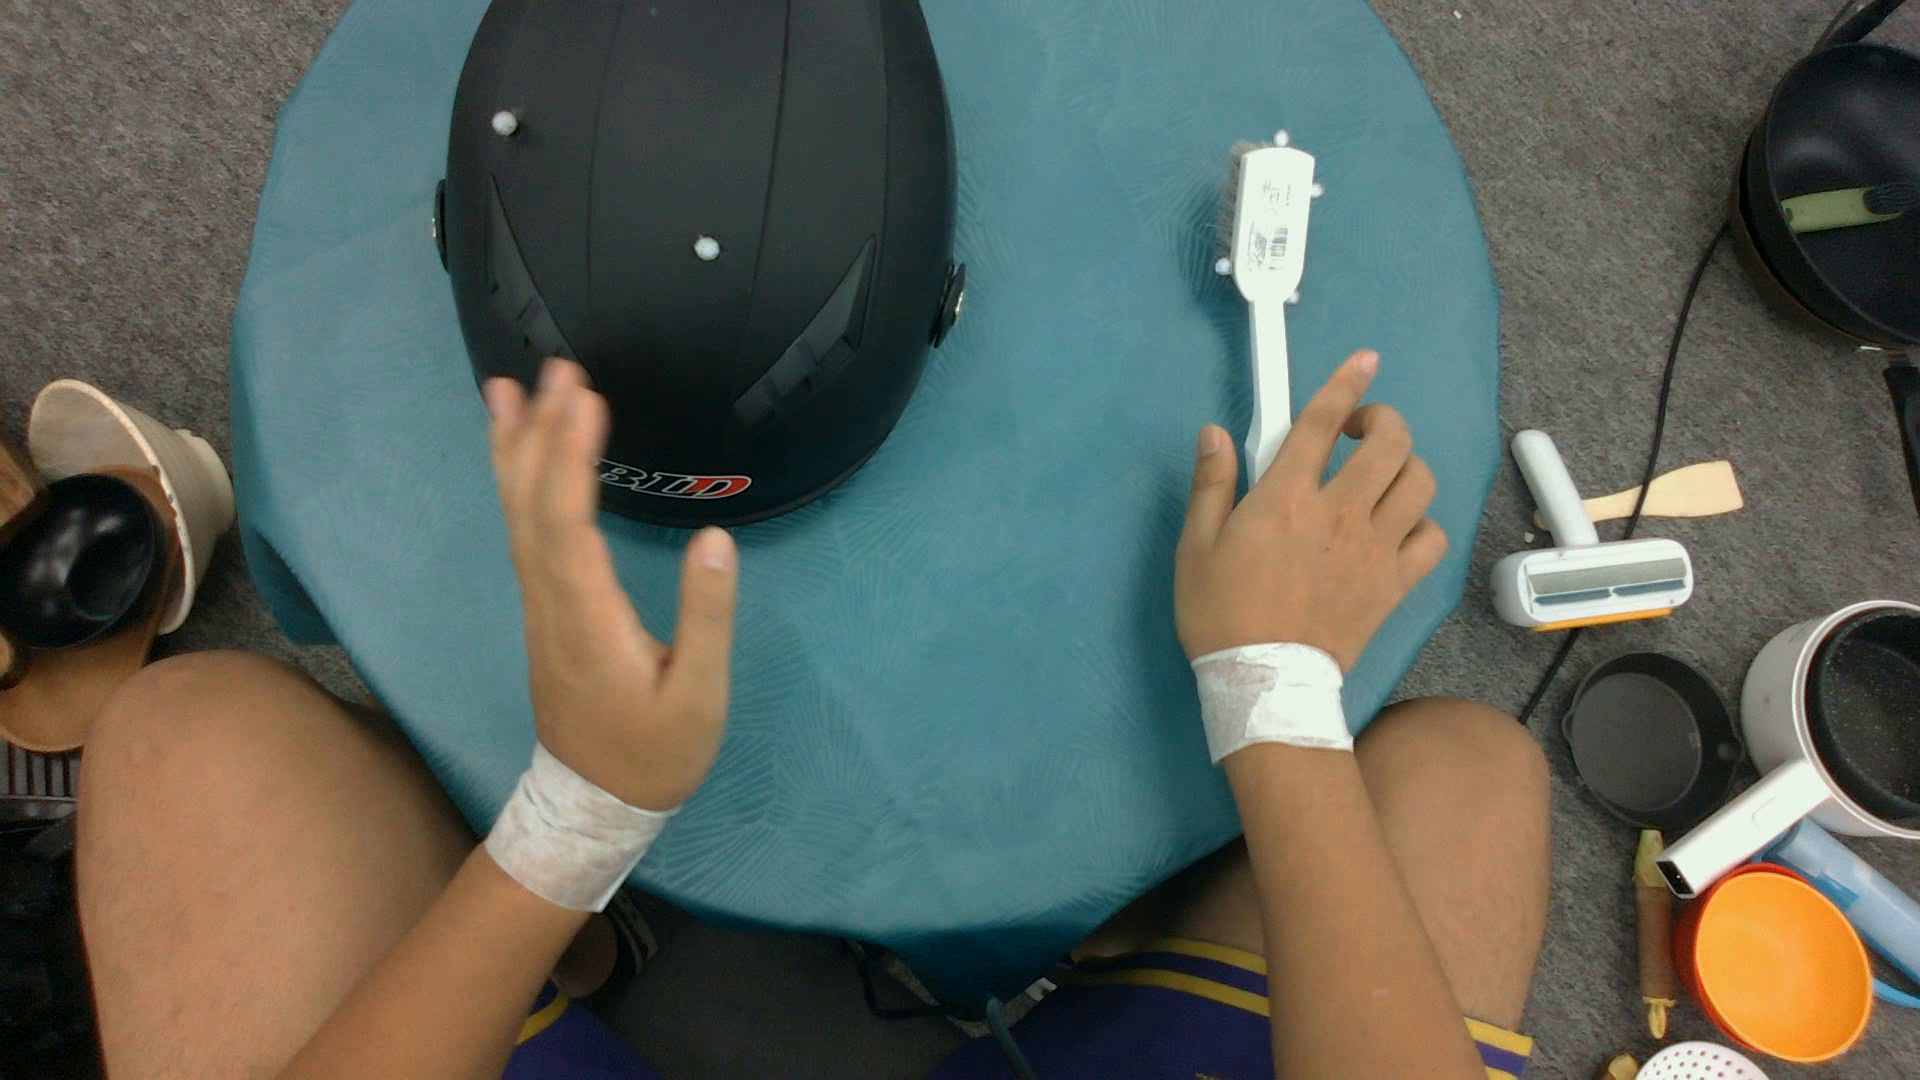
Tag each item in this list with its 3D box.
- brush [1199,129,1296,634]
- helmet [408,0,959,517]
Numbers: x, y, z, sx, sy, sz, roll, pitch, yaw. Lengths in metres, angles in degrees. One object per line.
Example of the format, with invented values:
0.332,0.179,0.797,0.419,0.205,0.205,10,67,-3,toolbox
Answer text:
0.139,-0.078,0.662,0.034,0.050,0.243,-2,90,-6,brush
-0.115,-0.160,0.576,0.247,0.172,0.277,9,73,-5,helmet
